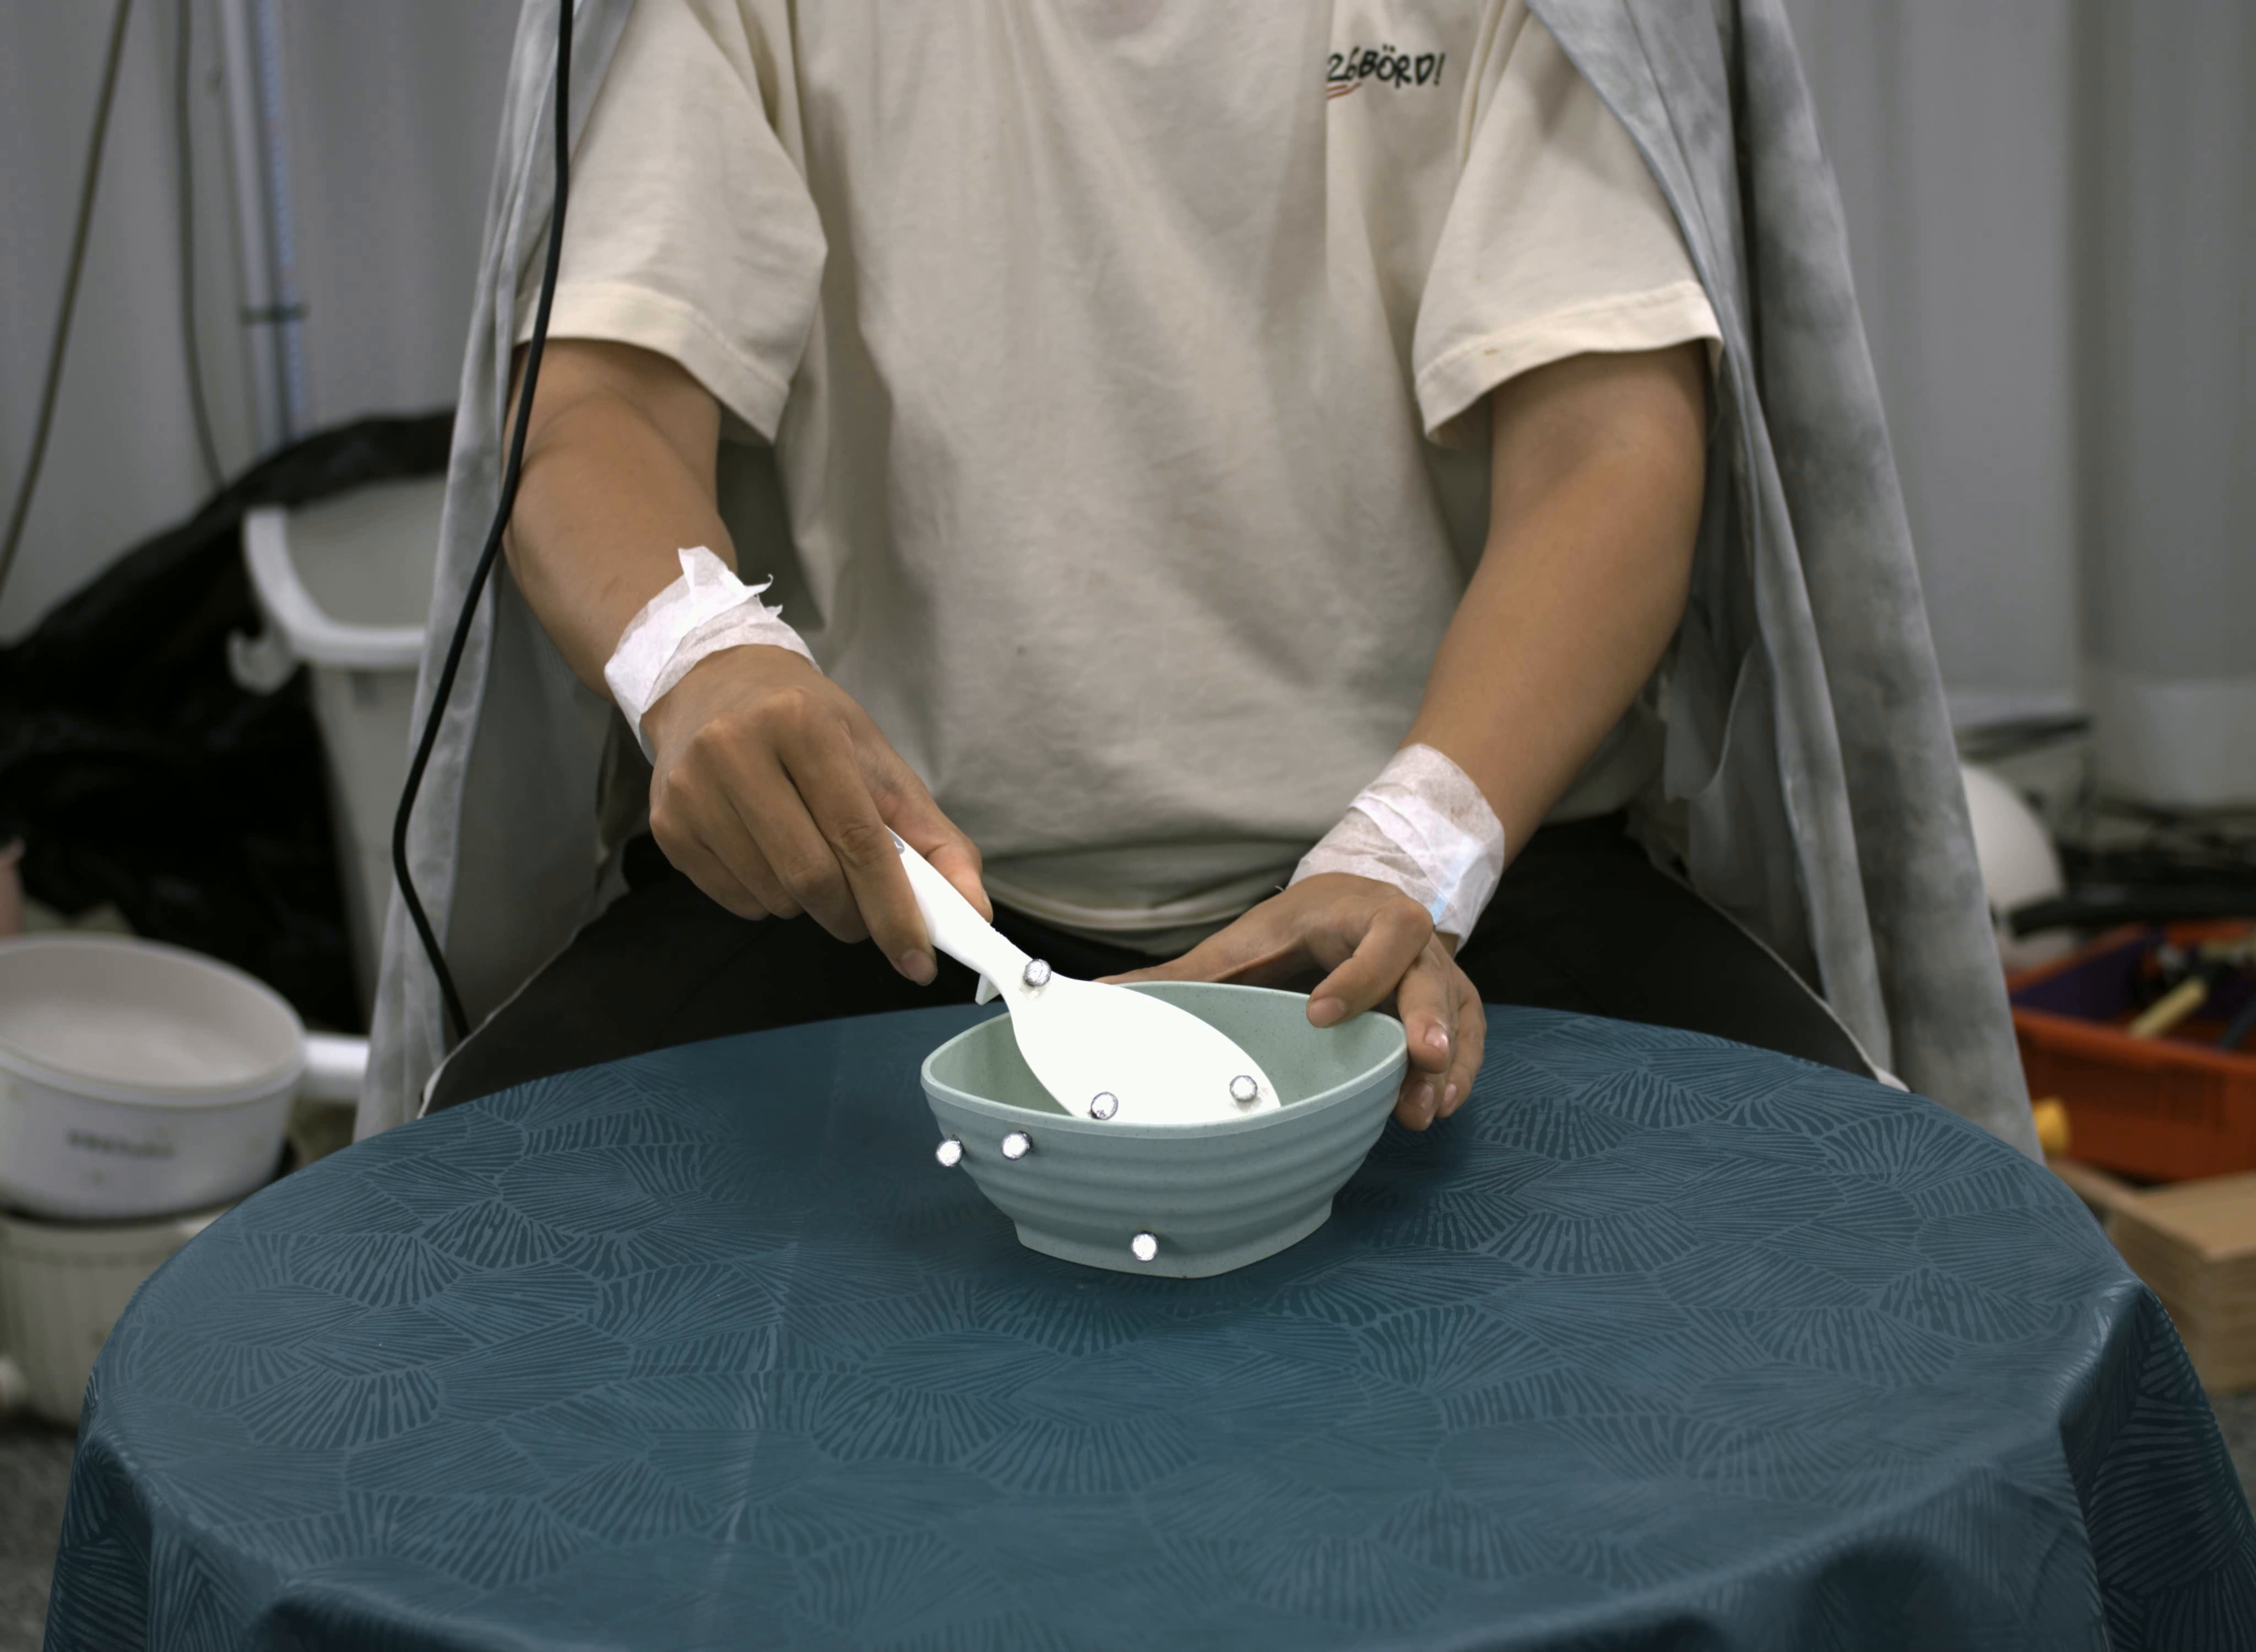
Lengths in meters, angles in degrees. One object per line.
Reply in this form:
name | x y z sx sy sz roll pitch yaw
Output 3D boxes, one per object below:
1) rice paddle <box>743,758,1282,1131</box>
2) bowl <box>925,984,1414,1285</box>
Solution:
rice paddle | -0.035 0.046 1.704 0.207 0.029 0.069 36 42 22
bowl | 0.015 0.098 1.676 0.151 0.058 0.152 -4 15 1
